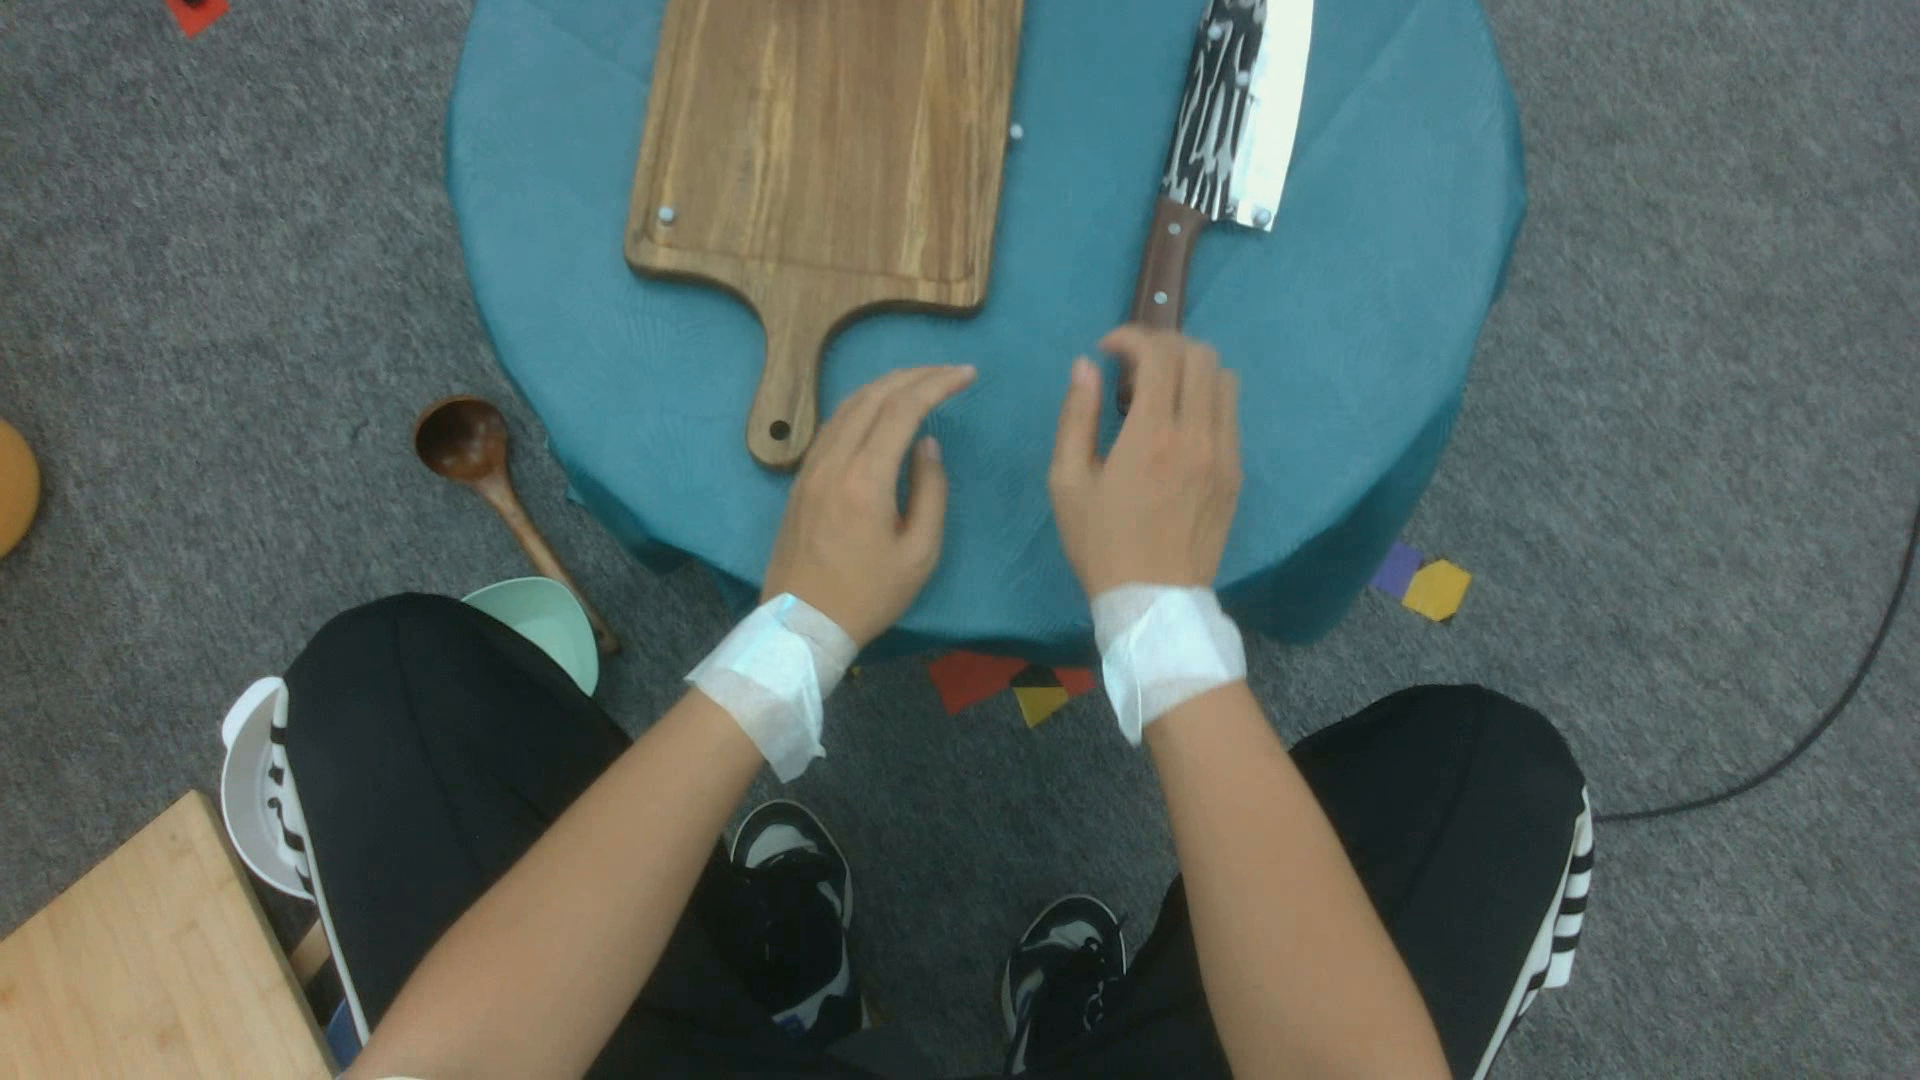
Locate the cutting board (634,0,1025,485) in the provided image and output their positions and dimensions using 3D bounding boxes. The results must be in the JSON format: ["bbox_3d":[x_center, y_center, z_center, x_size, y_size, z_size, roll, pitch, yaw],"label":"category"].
[{"bbox_3d":[-0.074,-0.203,0.773,0.201,0.023,0.353,7,78,0],"label":"cutting board"}]

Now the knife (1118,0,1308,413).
[{"bbox_3d":[0.148,-0.204,0.779,0.068,0.024,0.300,15,75,0],"label":"knife"}]
